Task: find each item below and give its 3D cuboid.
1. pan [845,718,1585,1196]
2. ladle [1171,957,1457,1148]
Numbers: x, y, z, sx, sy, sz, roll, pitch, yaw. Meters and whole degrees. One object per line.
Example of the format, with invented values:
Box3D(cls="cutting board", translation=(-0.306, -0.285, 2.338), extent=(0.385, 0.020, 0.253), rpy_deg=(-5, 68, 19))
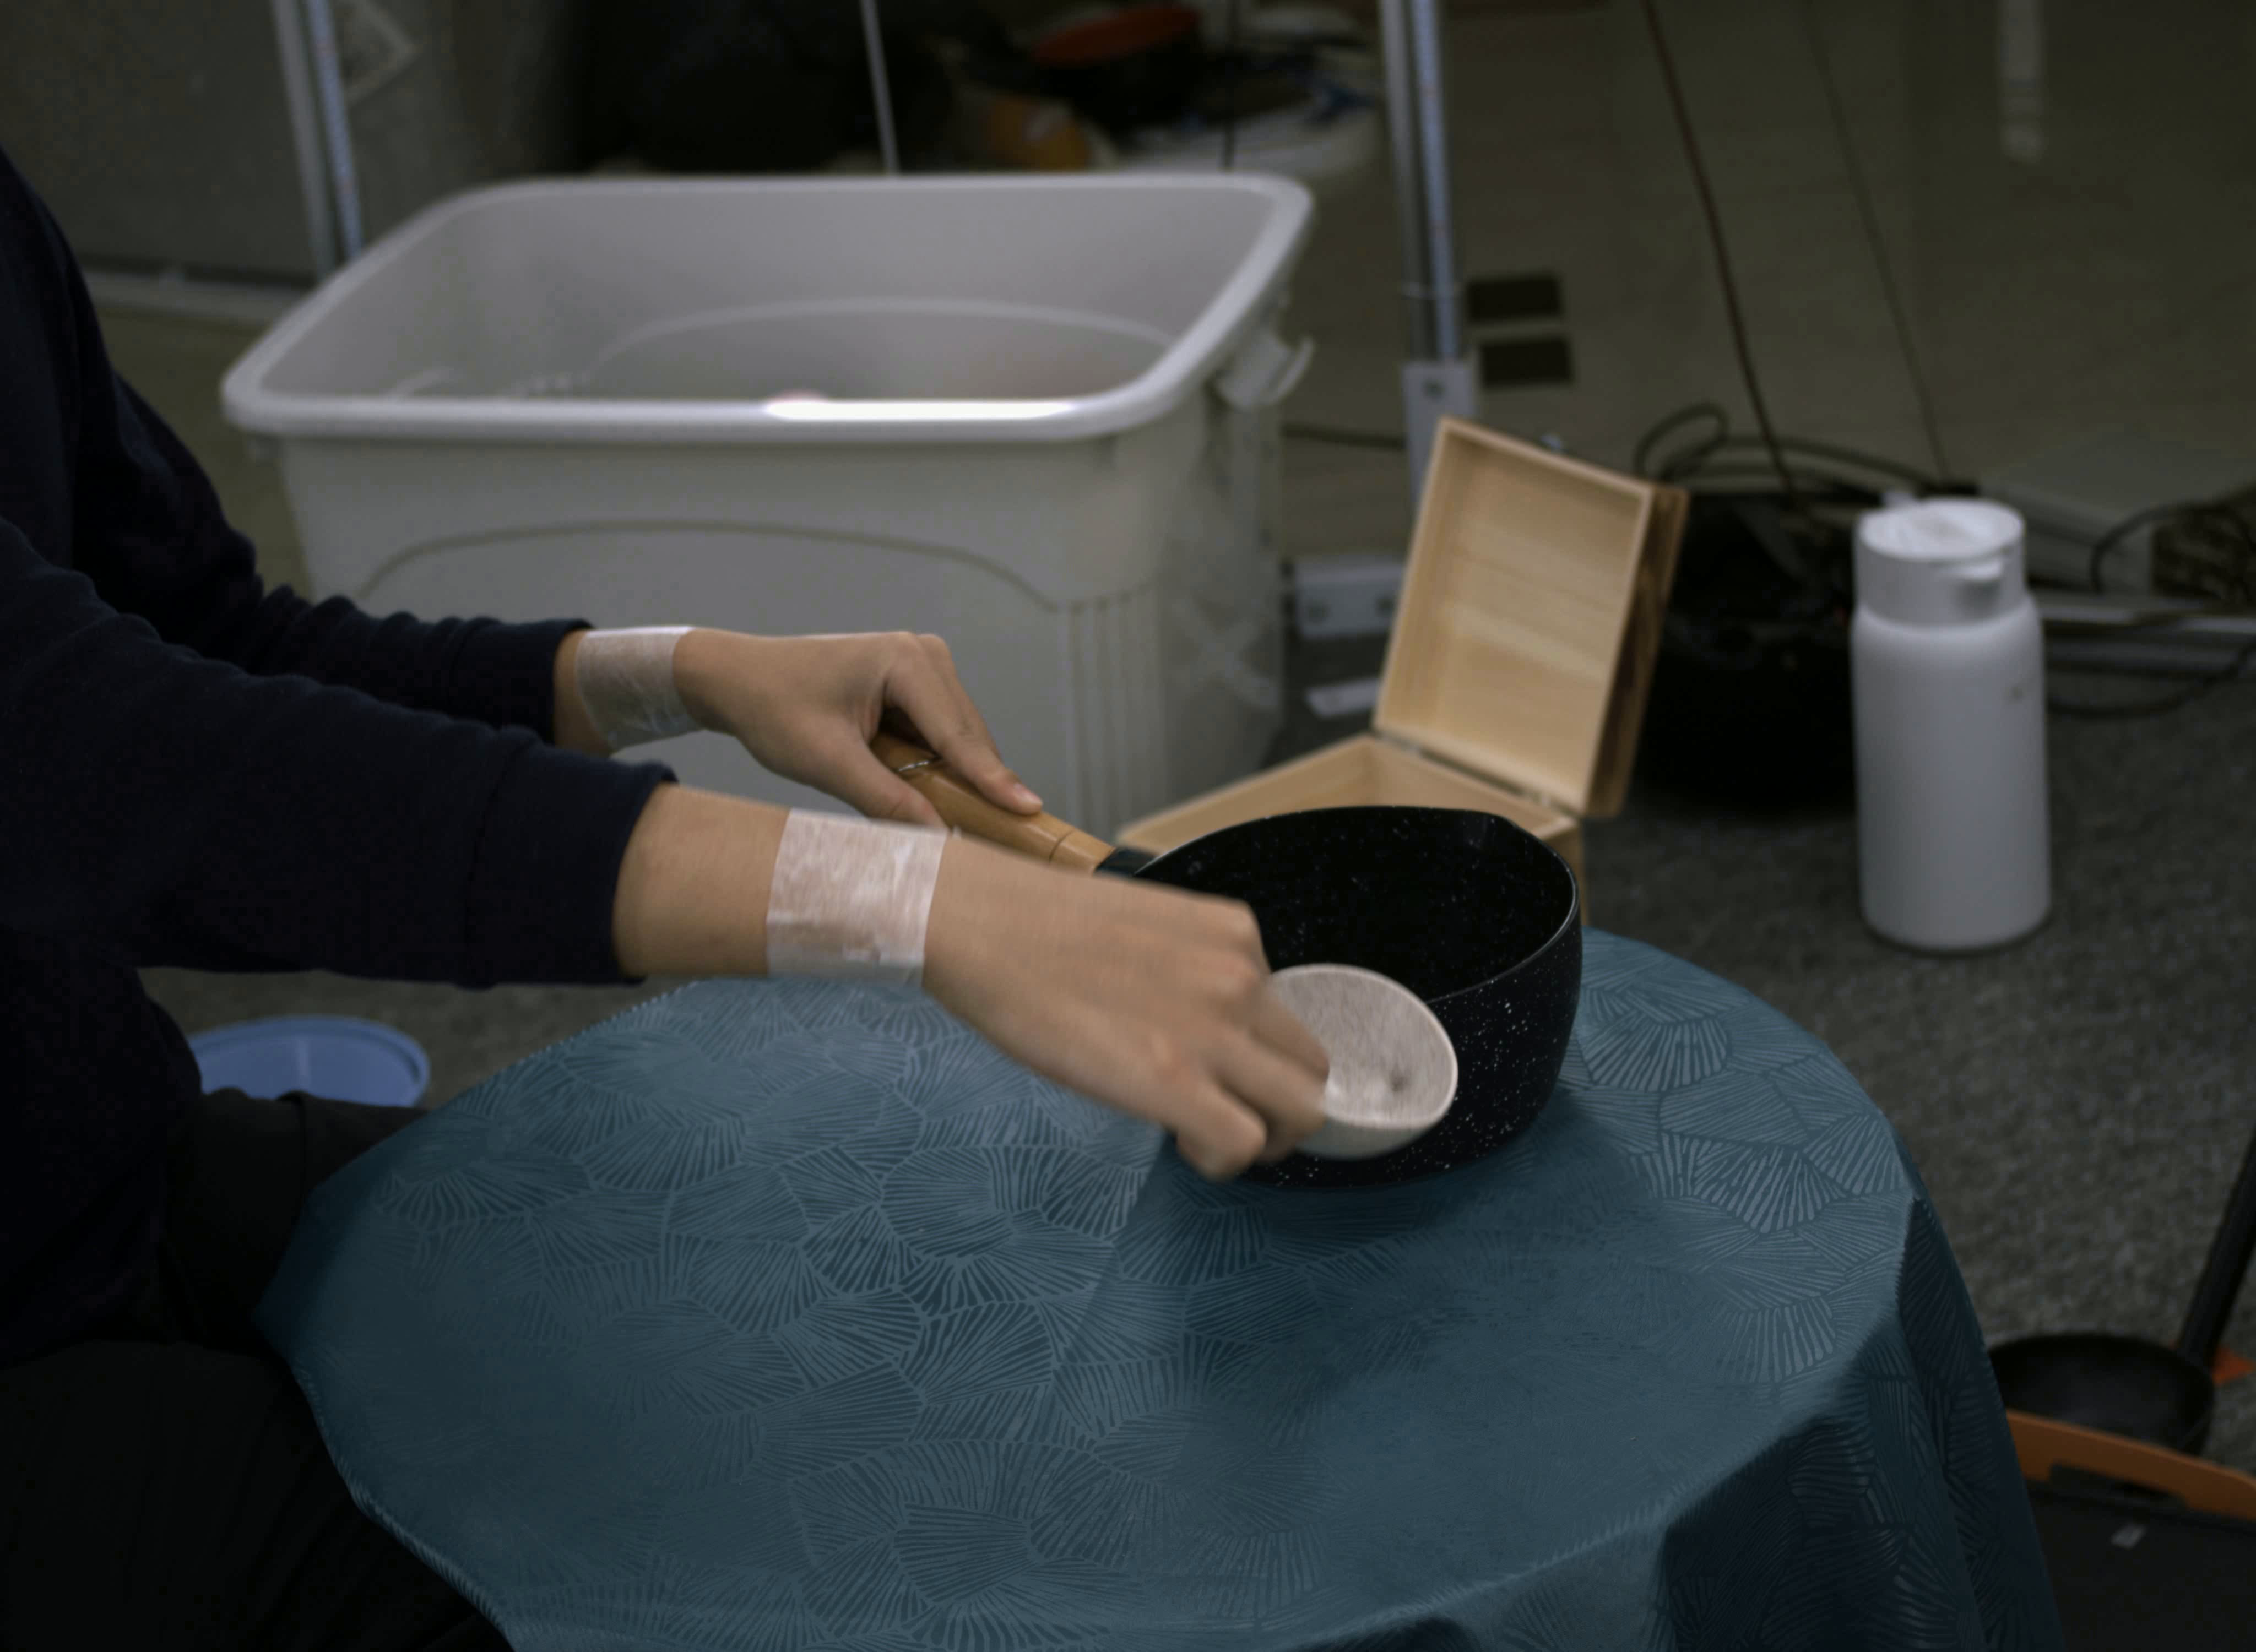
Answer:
Box3D(cls="pan", translation=(0.022, 0.043, 2.218), extent=(0.340, 0.110, 0.205), rpy_deg=(16, 34, 36))
Box3D(cls="ladle", translation=(0.055, 0.067, 1.915), extent=(0.089, 0.069, 0.276), rpy_deg=(23, -2, 11))
